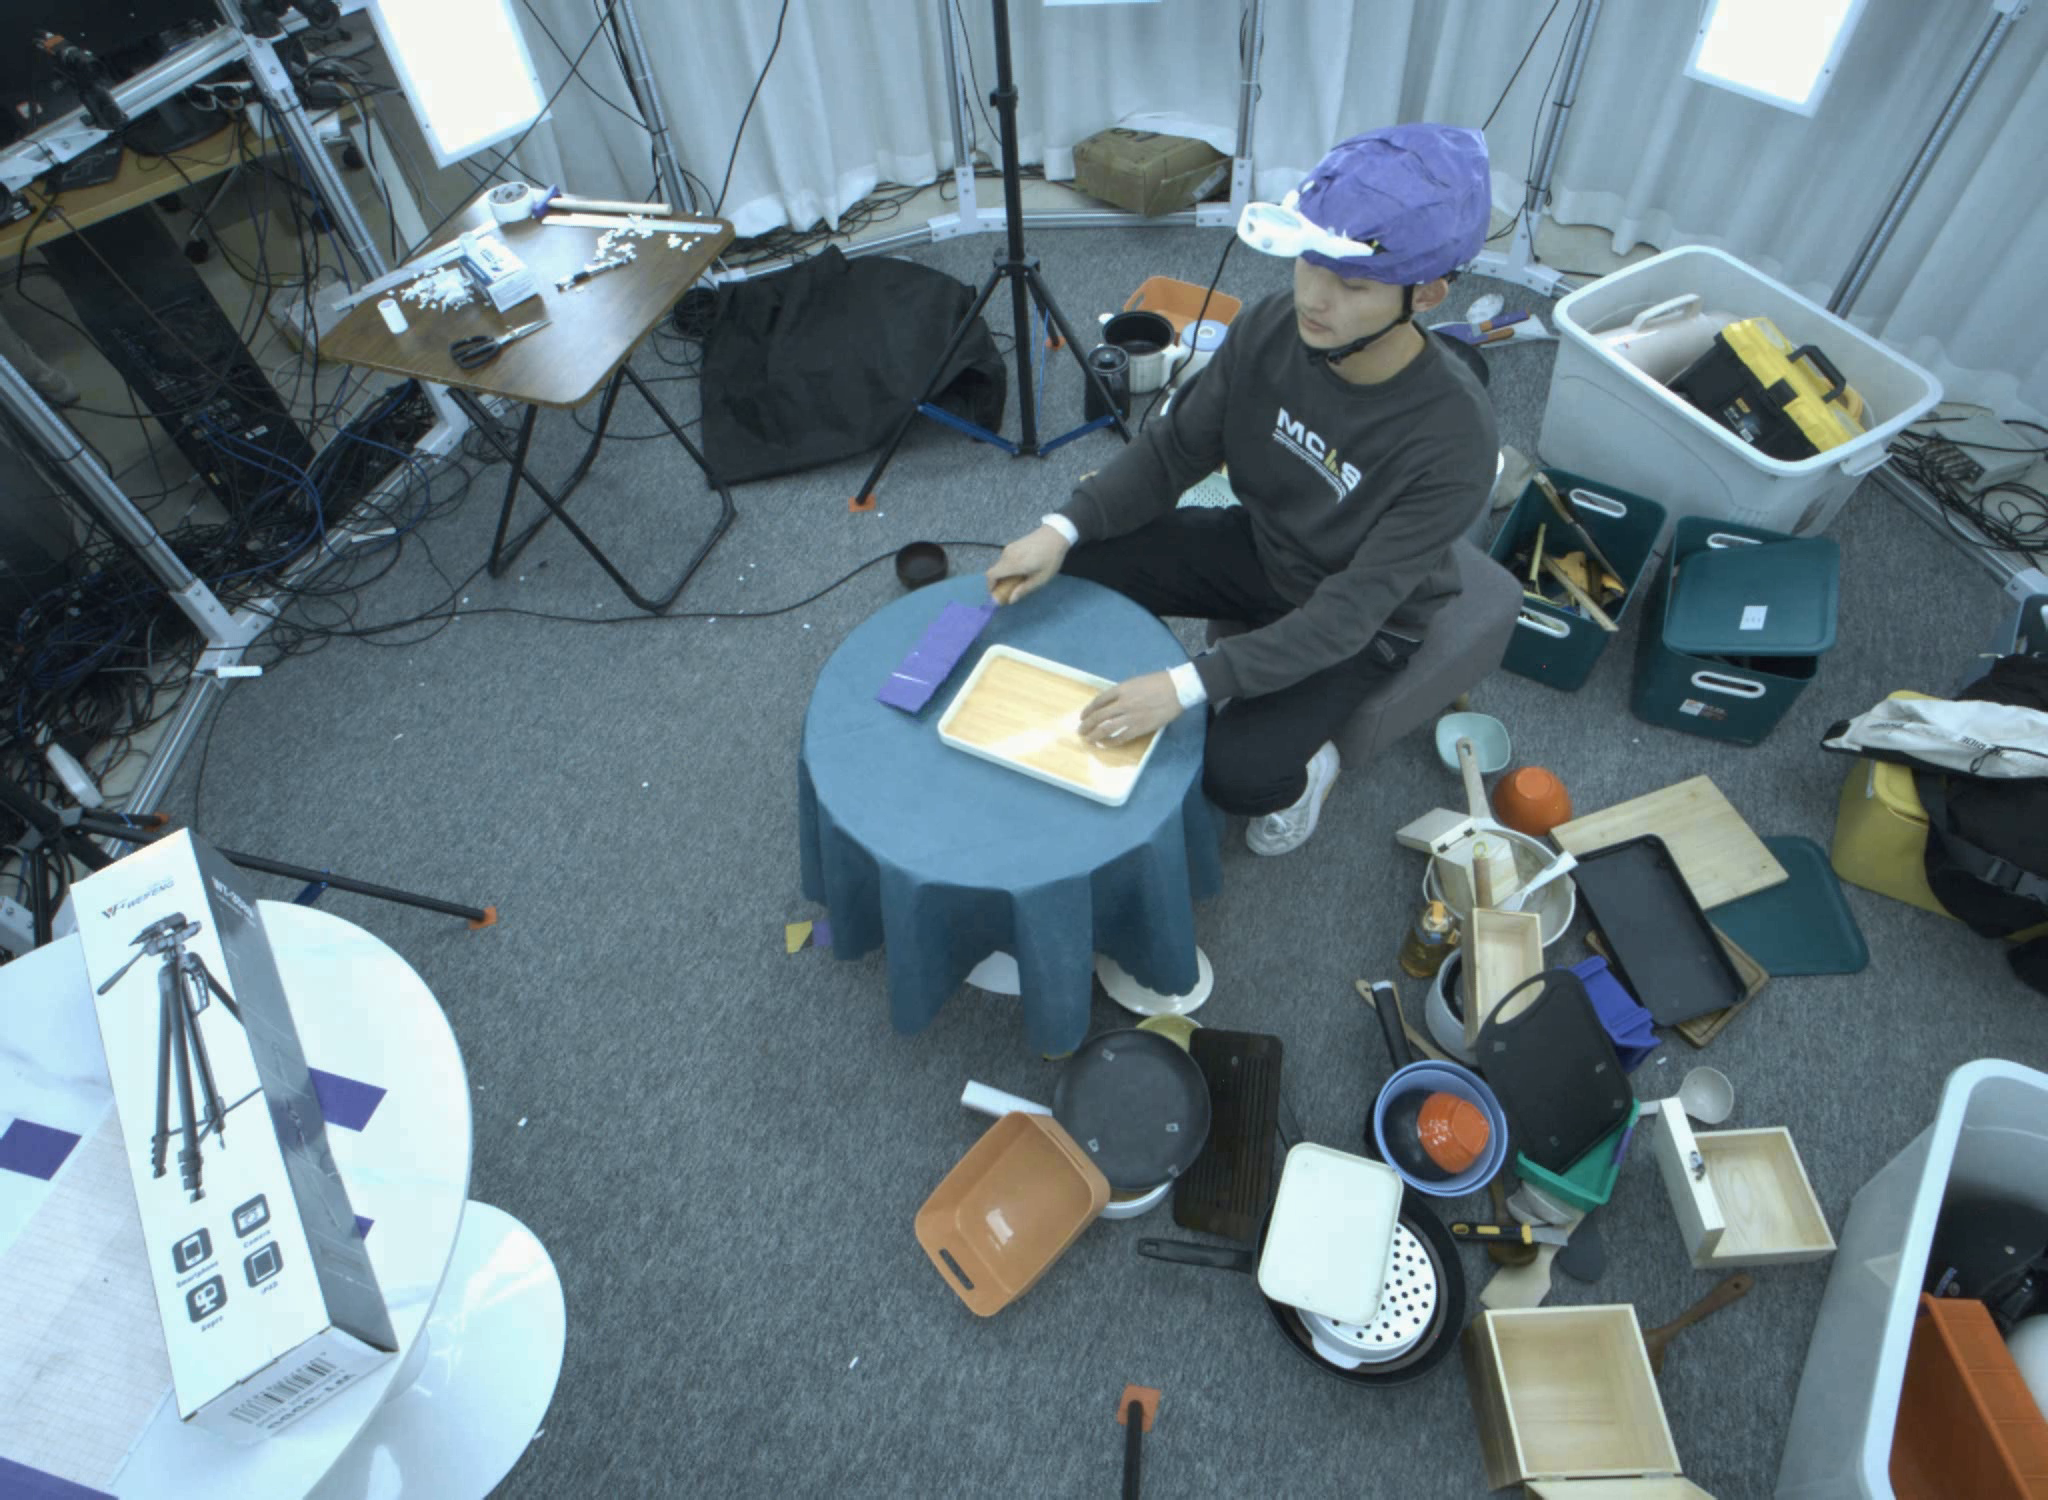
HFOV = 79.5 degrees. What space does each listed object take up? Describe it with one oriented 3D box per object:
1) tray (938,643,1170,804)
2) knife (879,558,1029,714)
[{"bbox_3d":[0.044,-0.043,1.807,0.297,0.028,0.192,20,58,15],"label":"tray"},{"bbox_3d":[-0.111,-0.186,1.887,0.102,0.033,0.316,21,62,29],"label":"knife"}]
